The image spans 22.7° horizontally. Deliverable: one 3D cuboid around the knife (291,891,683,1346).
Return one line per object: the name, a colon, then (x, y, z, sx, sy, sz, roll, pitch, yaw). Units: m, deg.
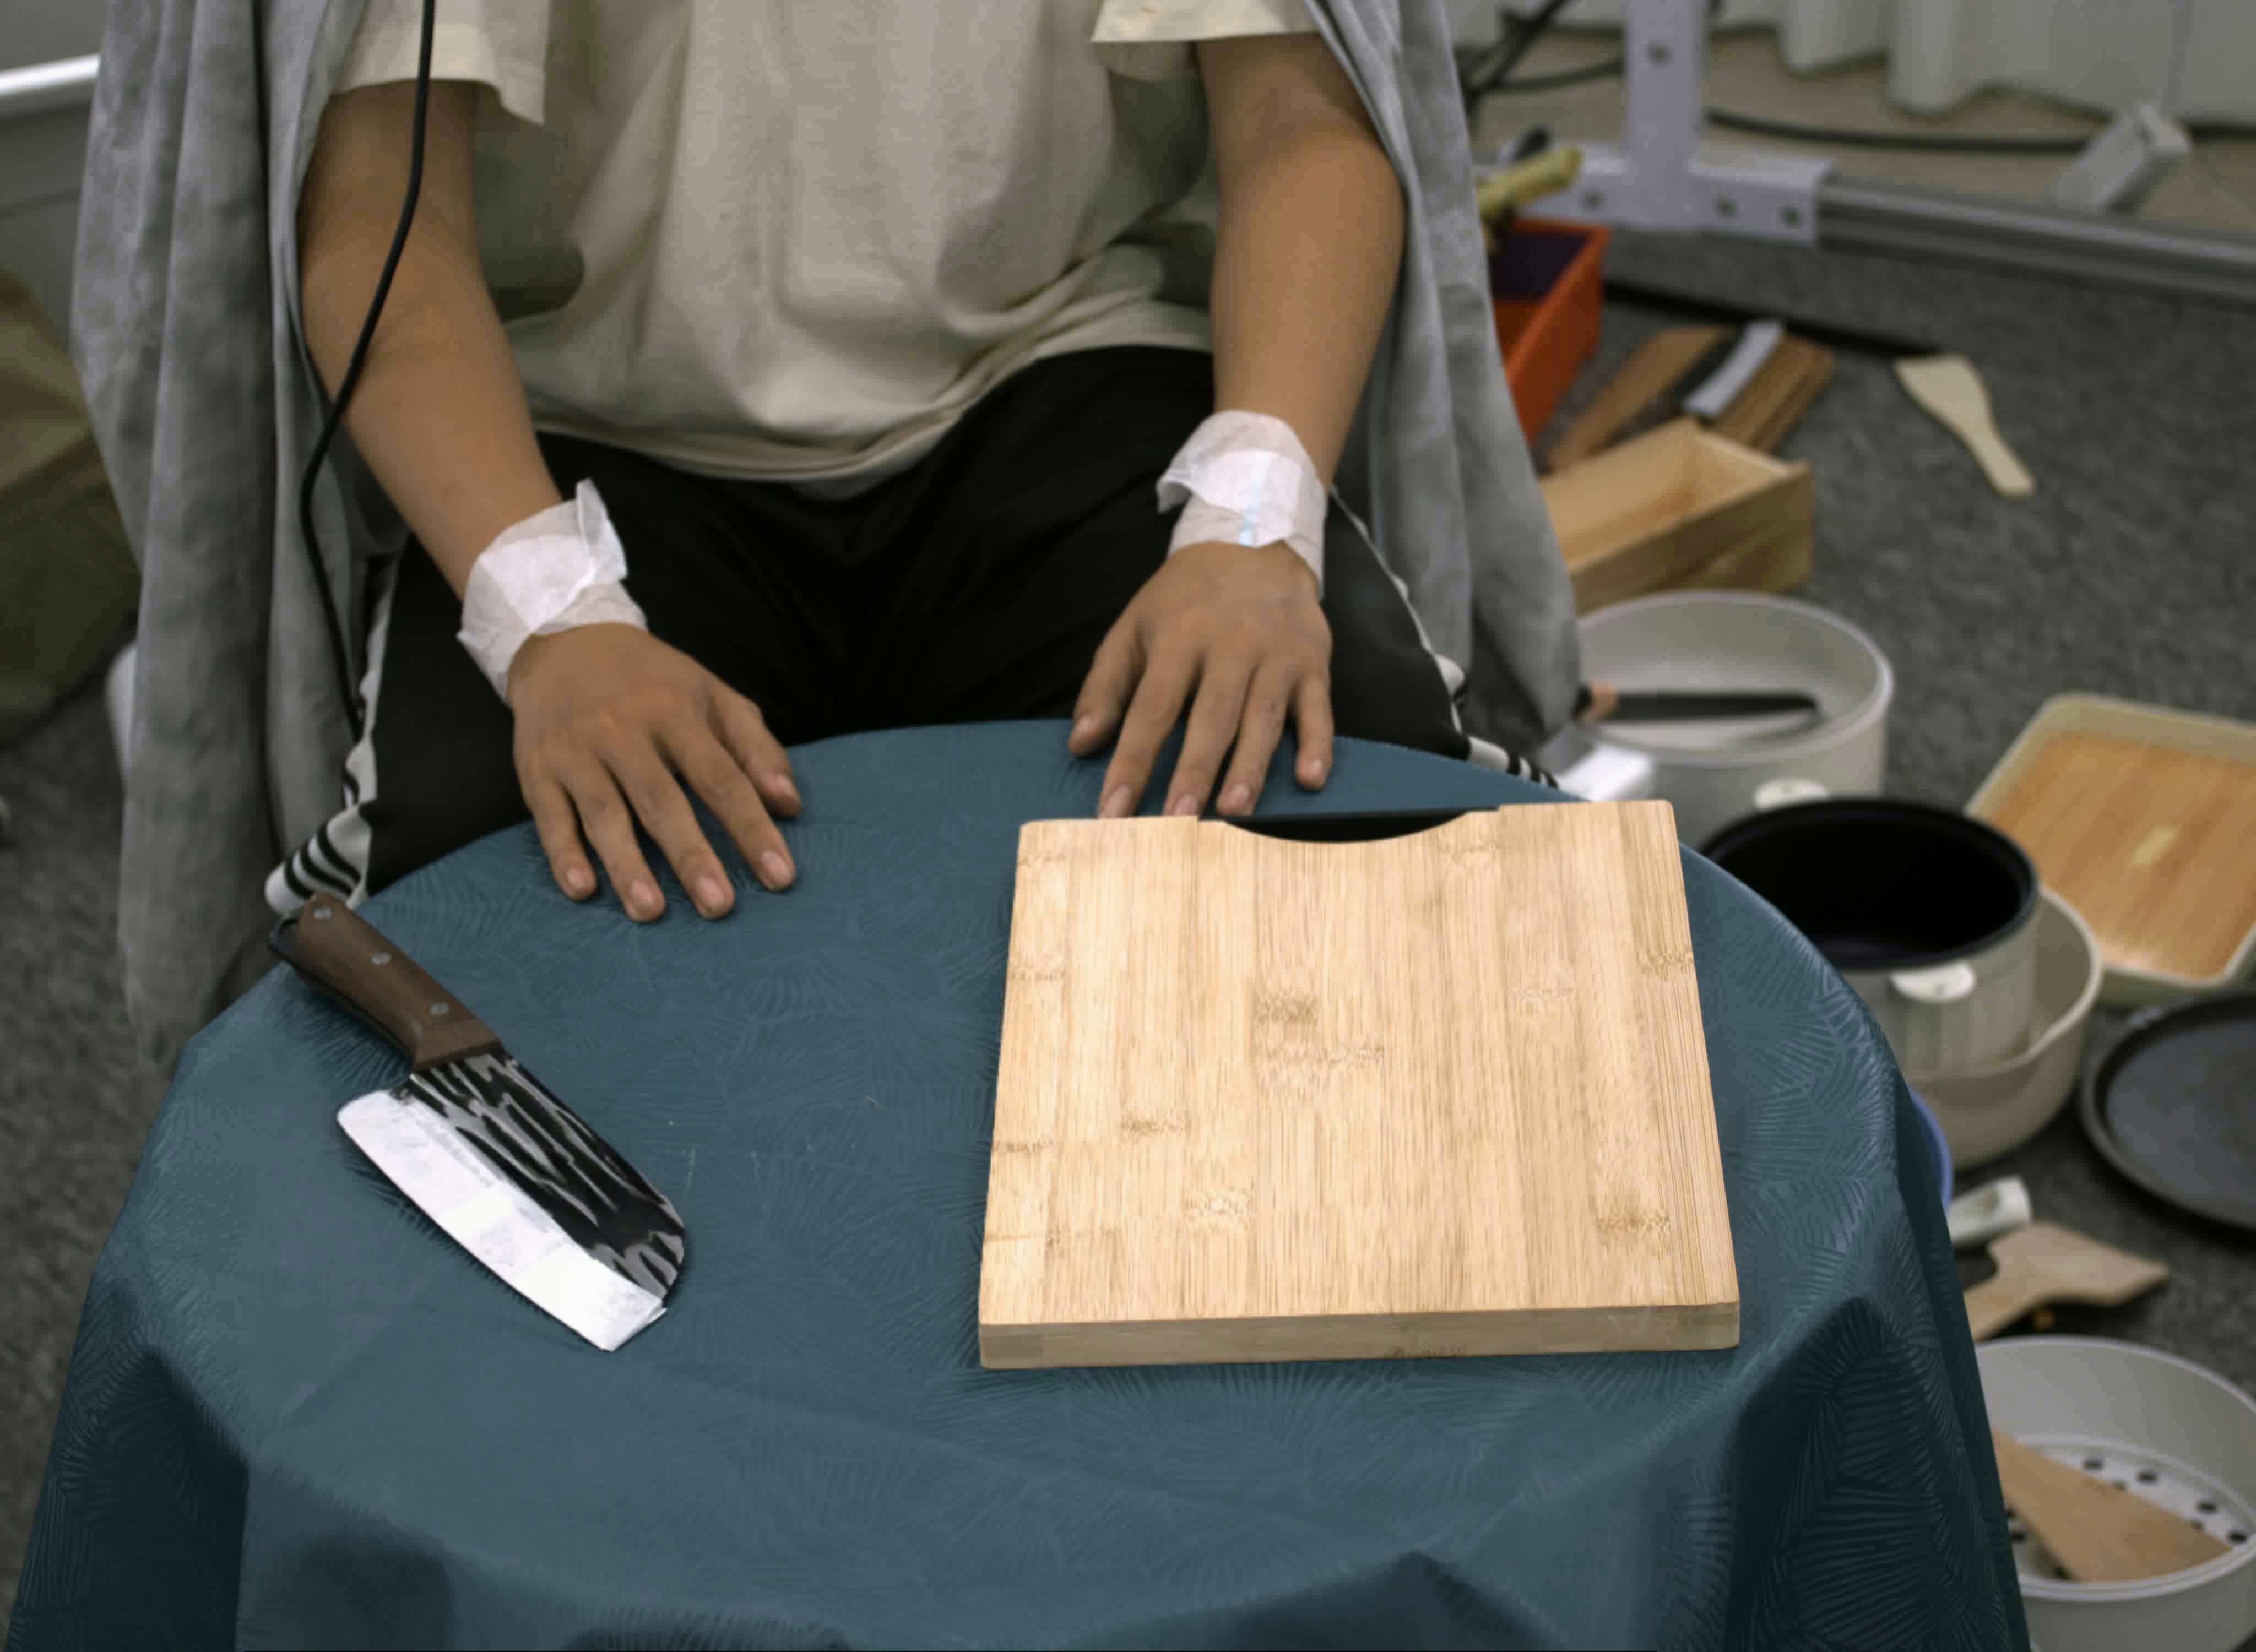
knife: (-0.229, 0.099, 1.906, 0.068, 0.023, 0.301, -20, 34, -27)

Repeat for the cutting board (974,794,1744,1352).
cutting board: (0.077, 0.080, 1.916, 0.249, 0.023, 0.354, -2, 27, 1)
